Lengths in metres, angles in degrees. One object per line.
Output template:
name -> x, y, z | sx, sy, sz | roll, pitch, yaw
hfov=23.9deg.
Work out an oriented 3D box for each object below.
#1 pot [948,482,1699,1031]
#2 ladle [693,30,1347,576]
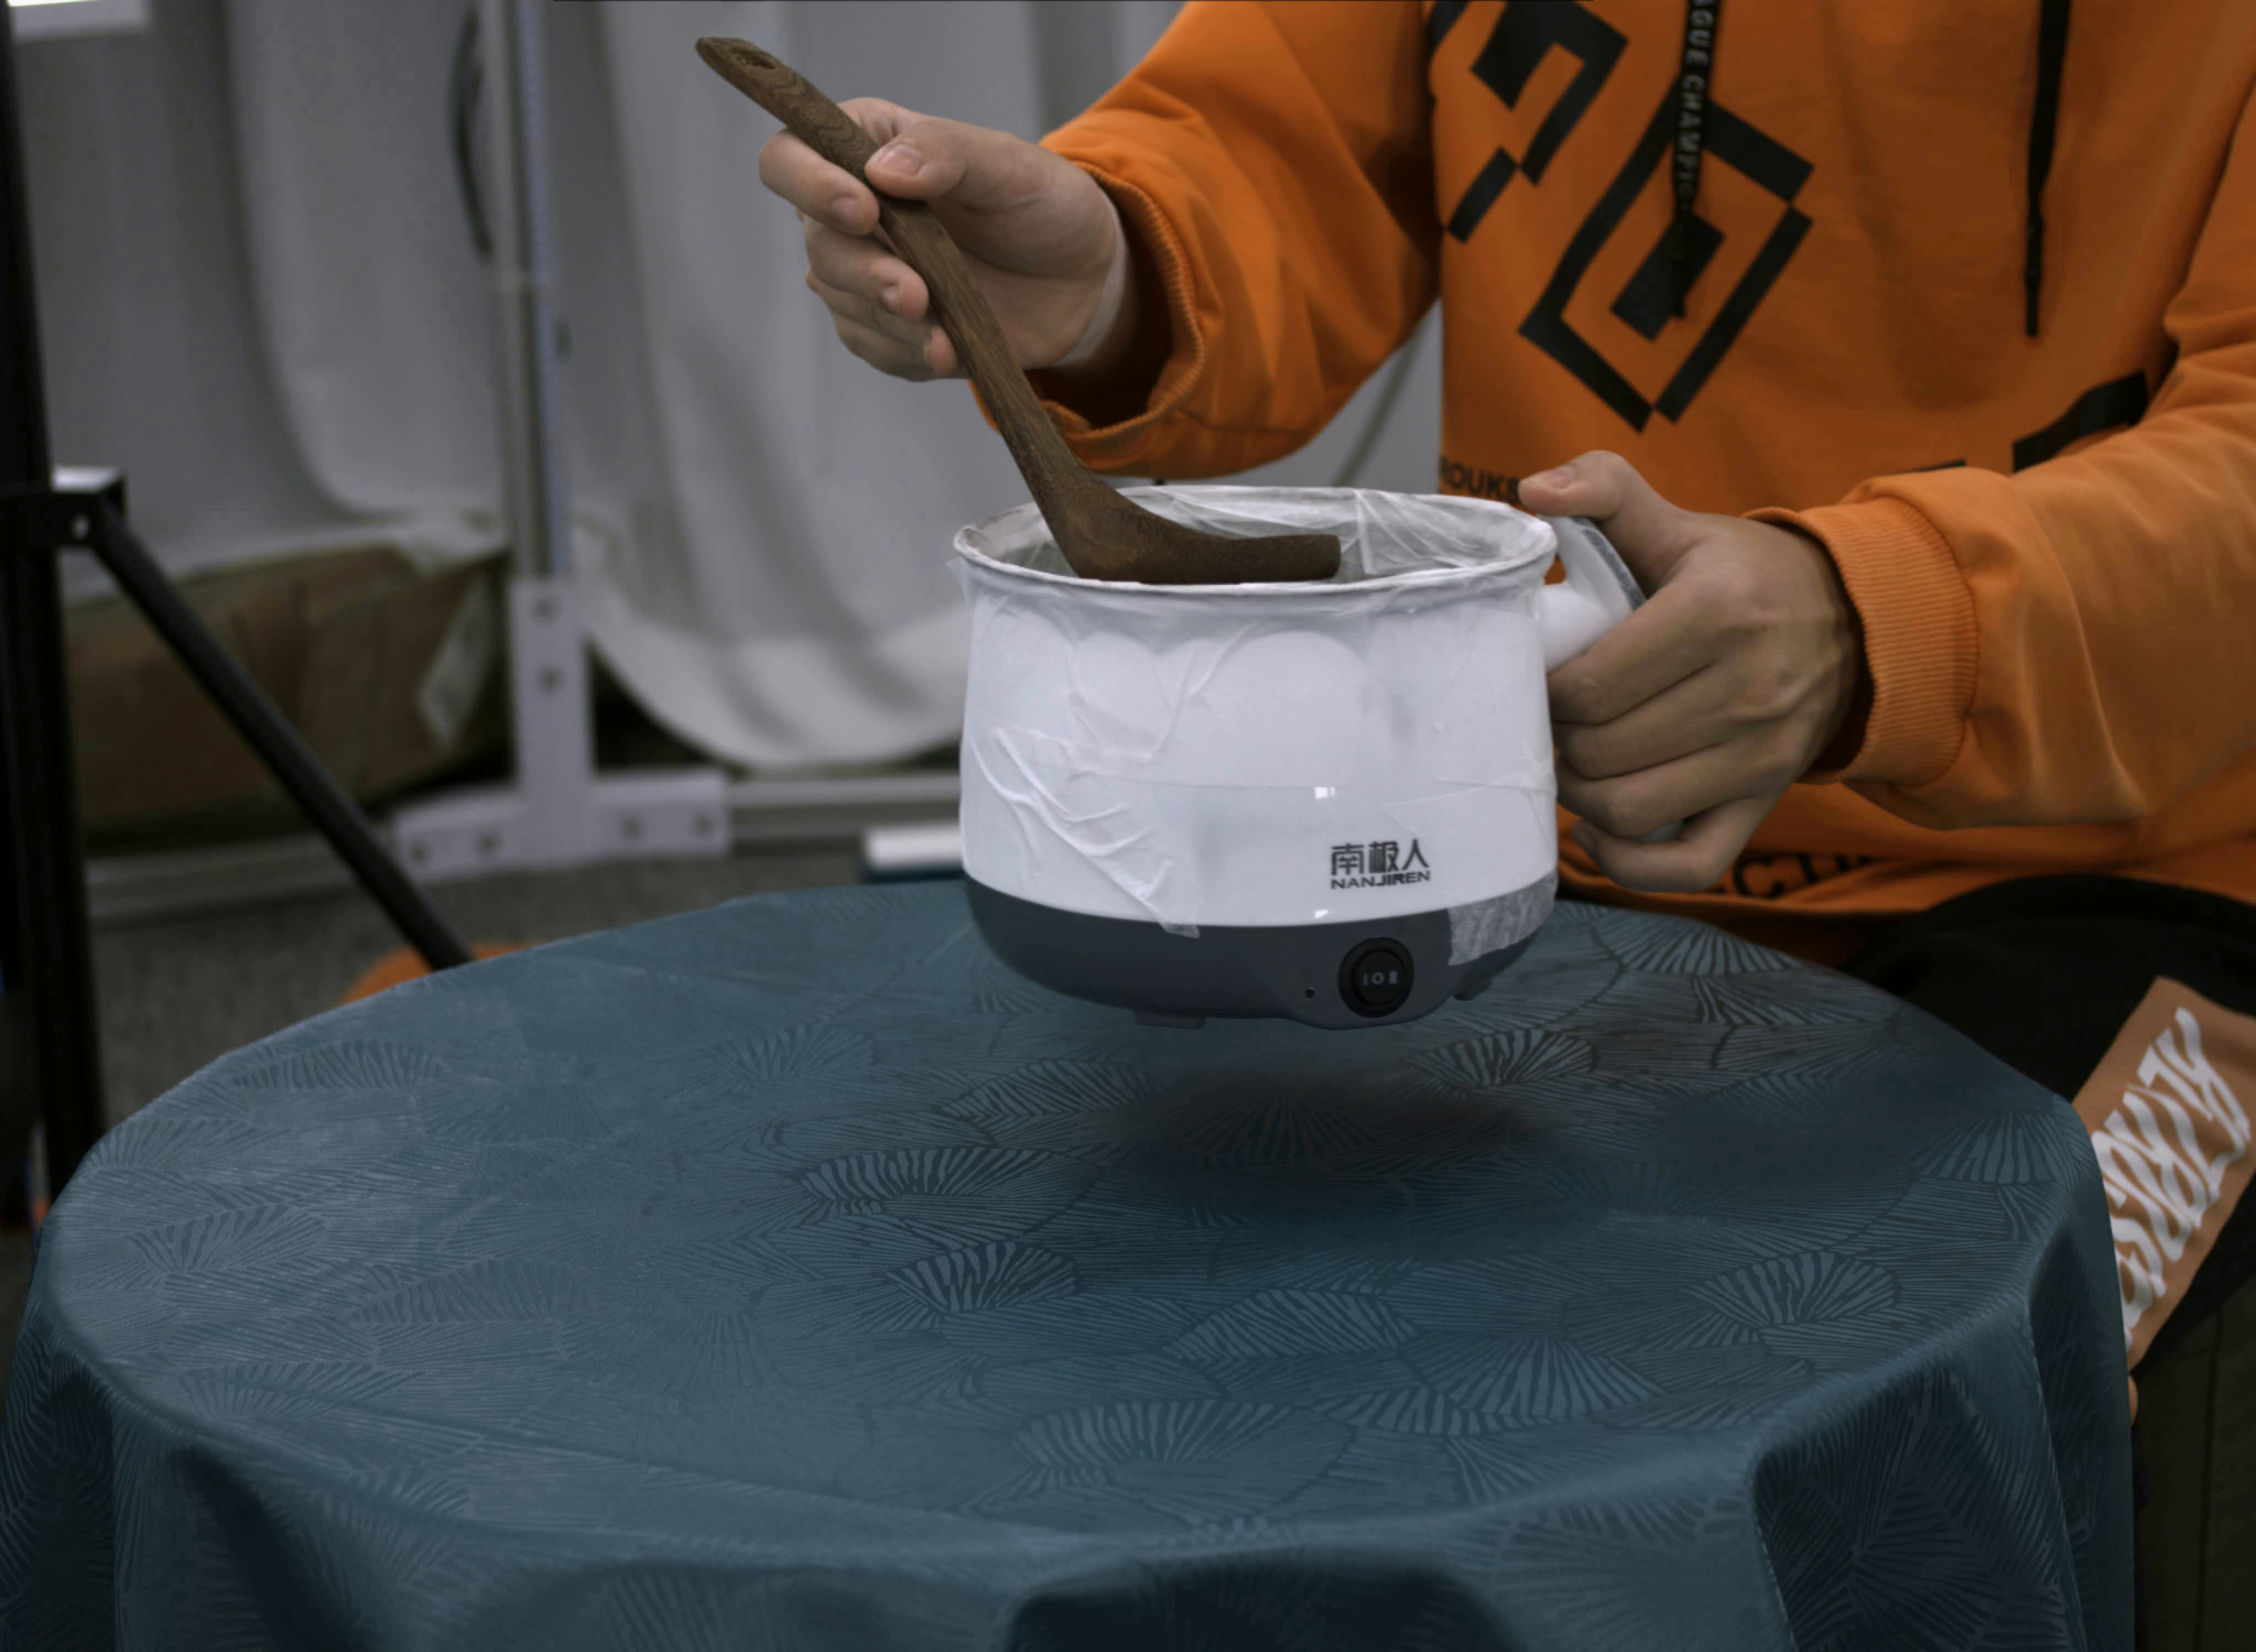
pot -> 0.062, -0.026, 1.576 | 0.229, 0.137, 0.182 | -6, 14, -21
ladle -> -0.034, -0.160, 1.573 | 0.074, 0.072, 0.279 | 2, 47, -54
